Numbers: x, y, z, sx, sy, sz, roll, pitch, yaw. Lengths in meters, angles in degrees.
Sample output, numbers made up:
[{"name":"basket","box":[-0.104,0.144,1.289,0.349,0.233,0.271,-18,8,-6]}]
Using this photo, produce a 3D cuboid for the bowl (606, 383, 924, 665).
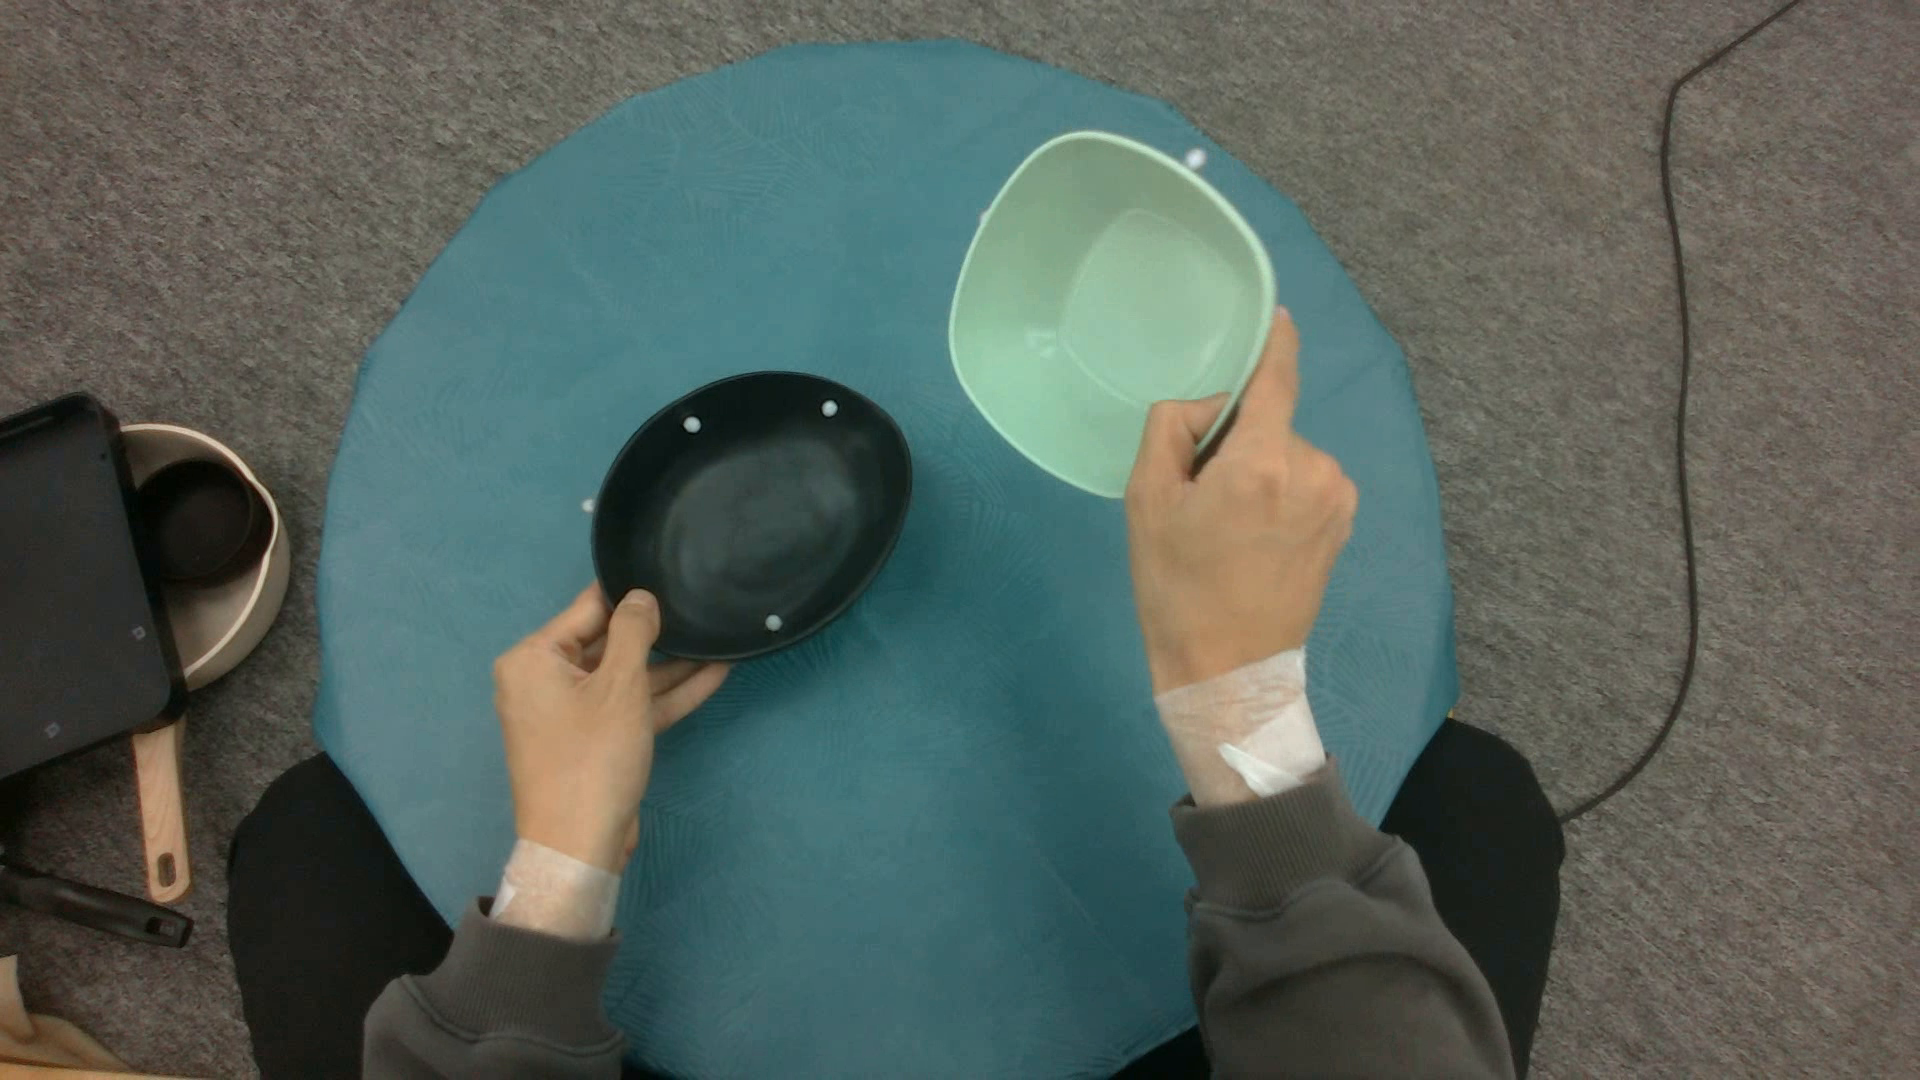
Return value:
[{"name":"bowl","box":[-0.098,-0.005,0.710,0.171,0.066,0.137,-42,79,-17]}]

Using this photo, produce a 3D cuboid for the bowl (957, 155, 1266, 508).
[{"name":"bowl","box":[0.074,-0.093,0.608,0.059,0.150,0.151,-17,67,-51]}]
